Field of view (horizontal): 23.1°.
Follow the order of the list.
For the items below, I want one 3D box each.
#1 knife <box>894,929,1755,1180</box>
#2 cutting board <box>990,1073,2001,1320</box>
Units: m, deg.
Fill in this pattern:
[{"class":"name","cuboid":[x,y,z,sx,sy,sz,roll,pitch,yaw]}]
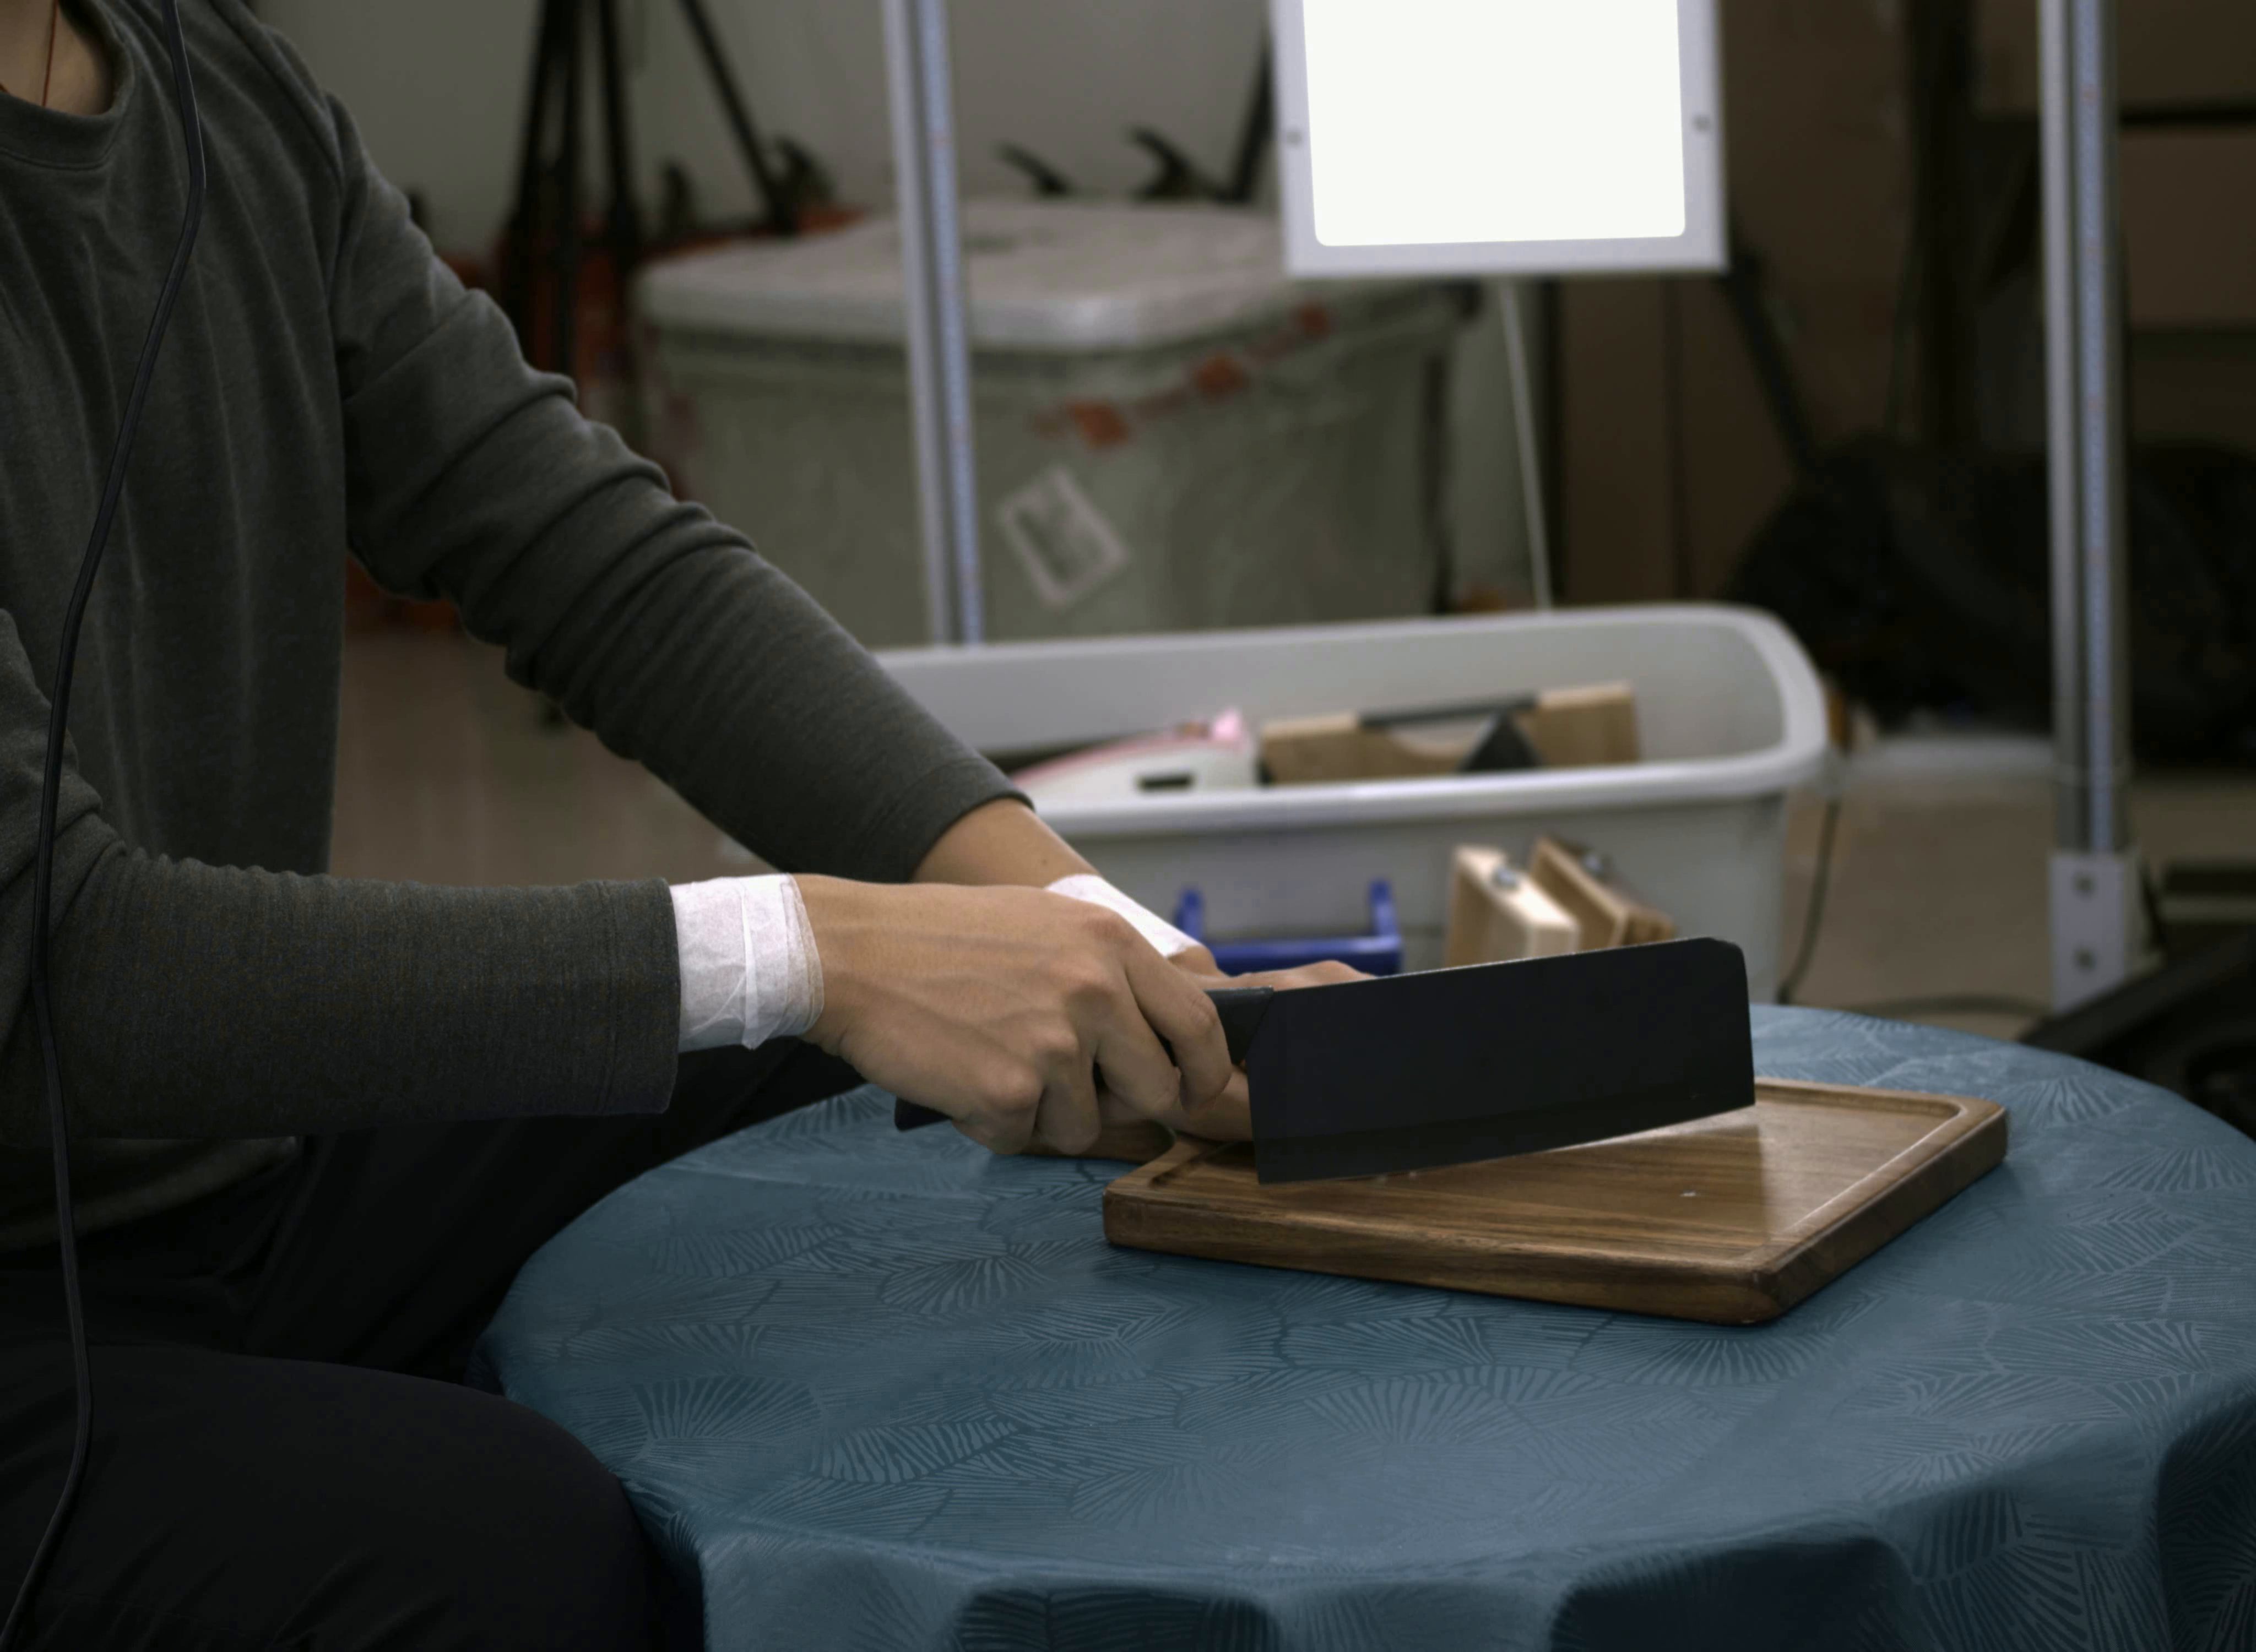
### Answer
[{"class":"knife","cuboid":[0.069,0.079,1.836,0.298,0.081,0.021,-2,4,-13]},{"class":"cutting board","cuboid":[0.104,0.112,1.877,0.359,0.023,0.196,4,16,34]}]
